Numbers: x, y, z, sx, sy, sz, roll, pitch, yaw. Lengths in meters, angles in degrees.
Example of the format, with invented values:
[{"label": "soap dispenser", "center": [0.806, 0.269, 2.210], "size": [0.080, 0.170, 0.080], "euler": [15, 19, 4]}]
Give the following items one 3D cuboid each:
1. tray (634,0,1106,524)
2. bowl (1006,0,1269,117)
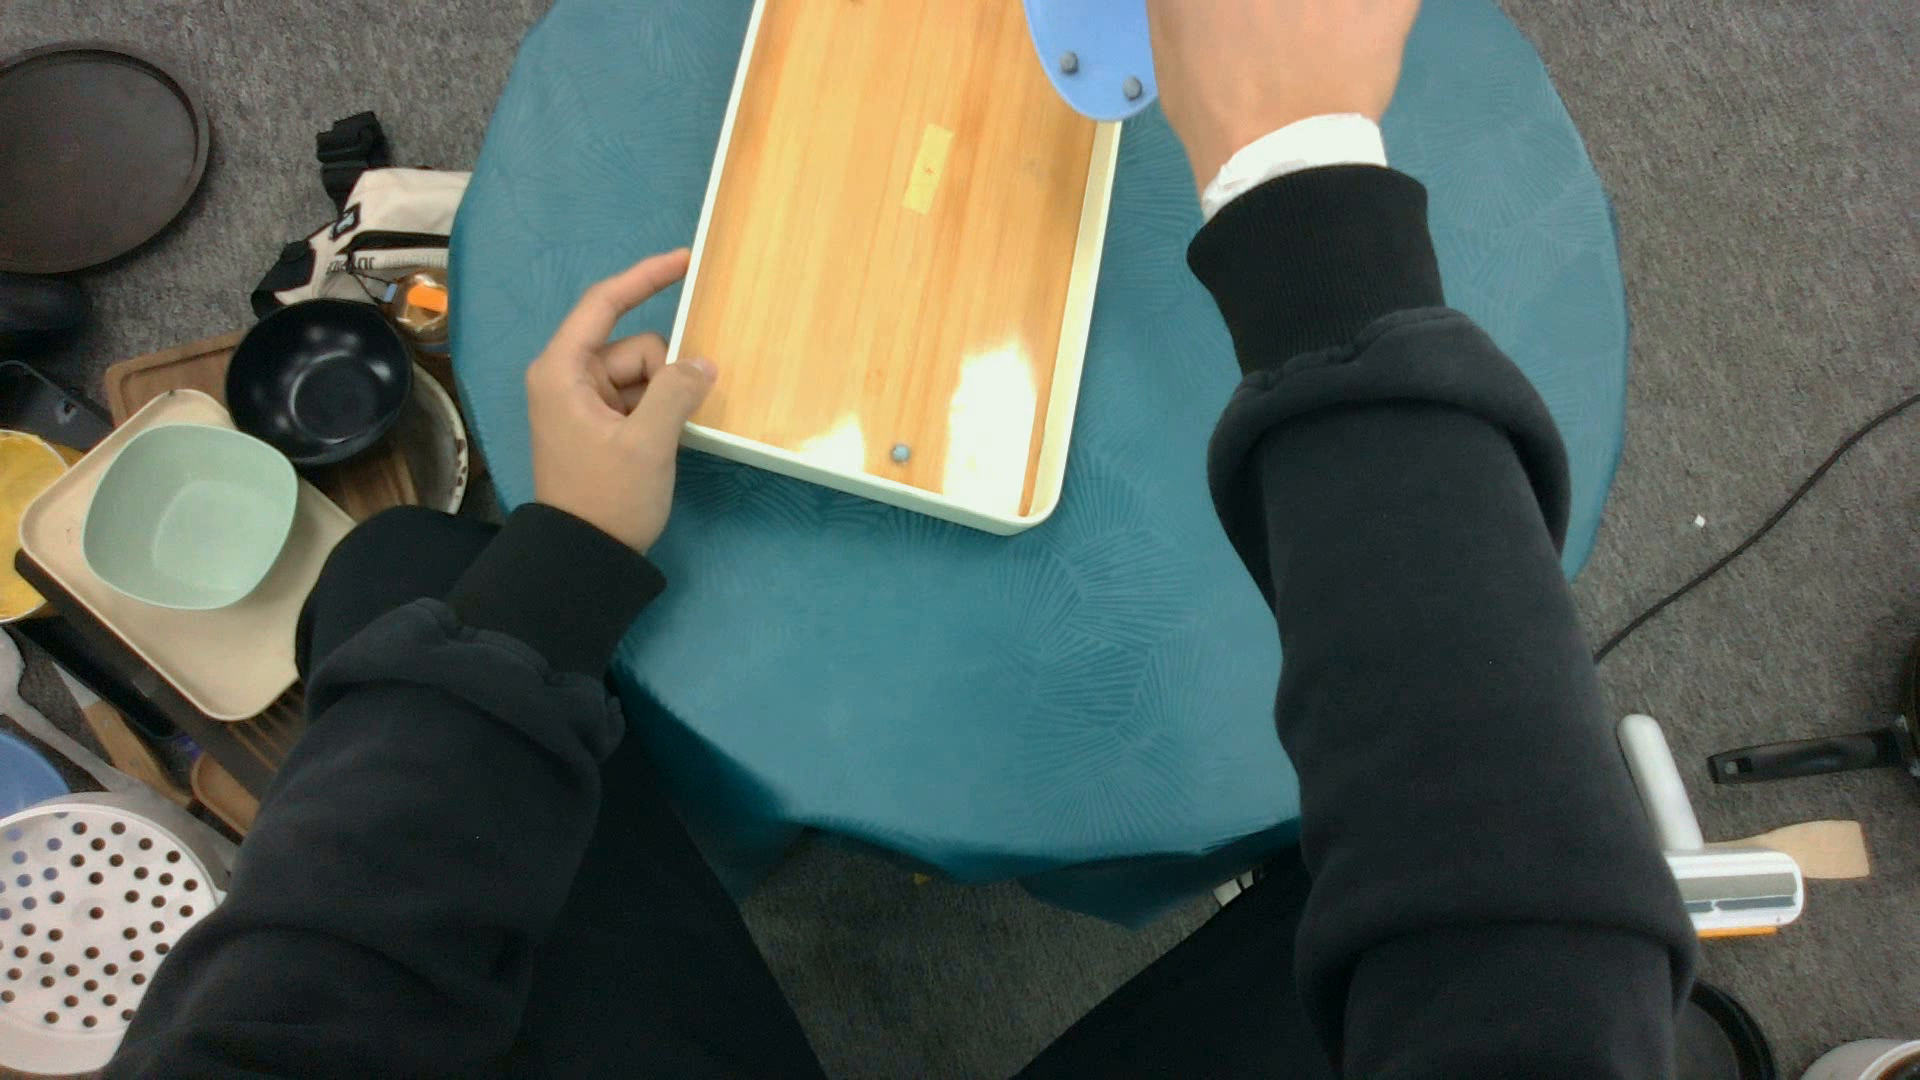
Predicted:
[{"label": "tray", "center": [-0.033, -0.170, 0.668], "size": [0.192, 0.027, 0.301], "euler": [16, 71, -18]}, {"label": "bowl", "center": [0.081, -0.267, 0.569], "size": [0.070, 0.175, 0.176], "euler": [-9, 74, -23]}]
